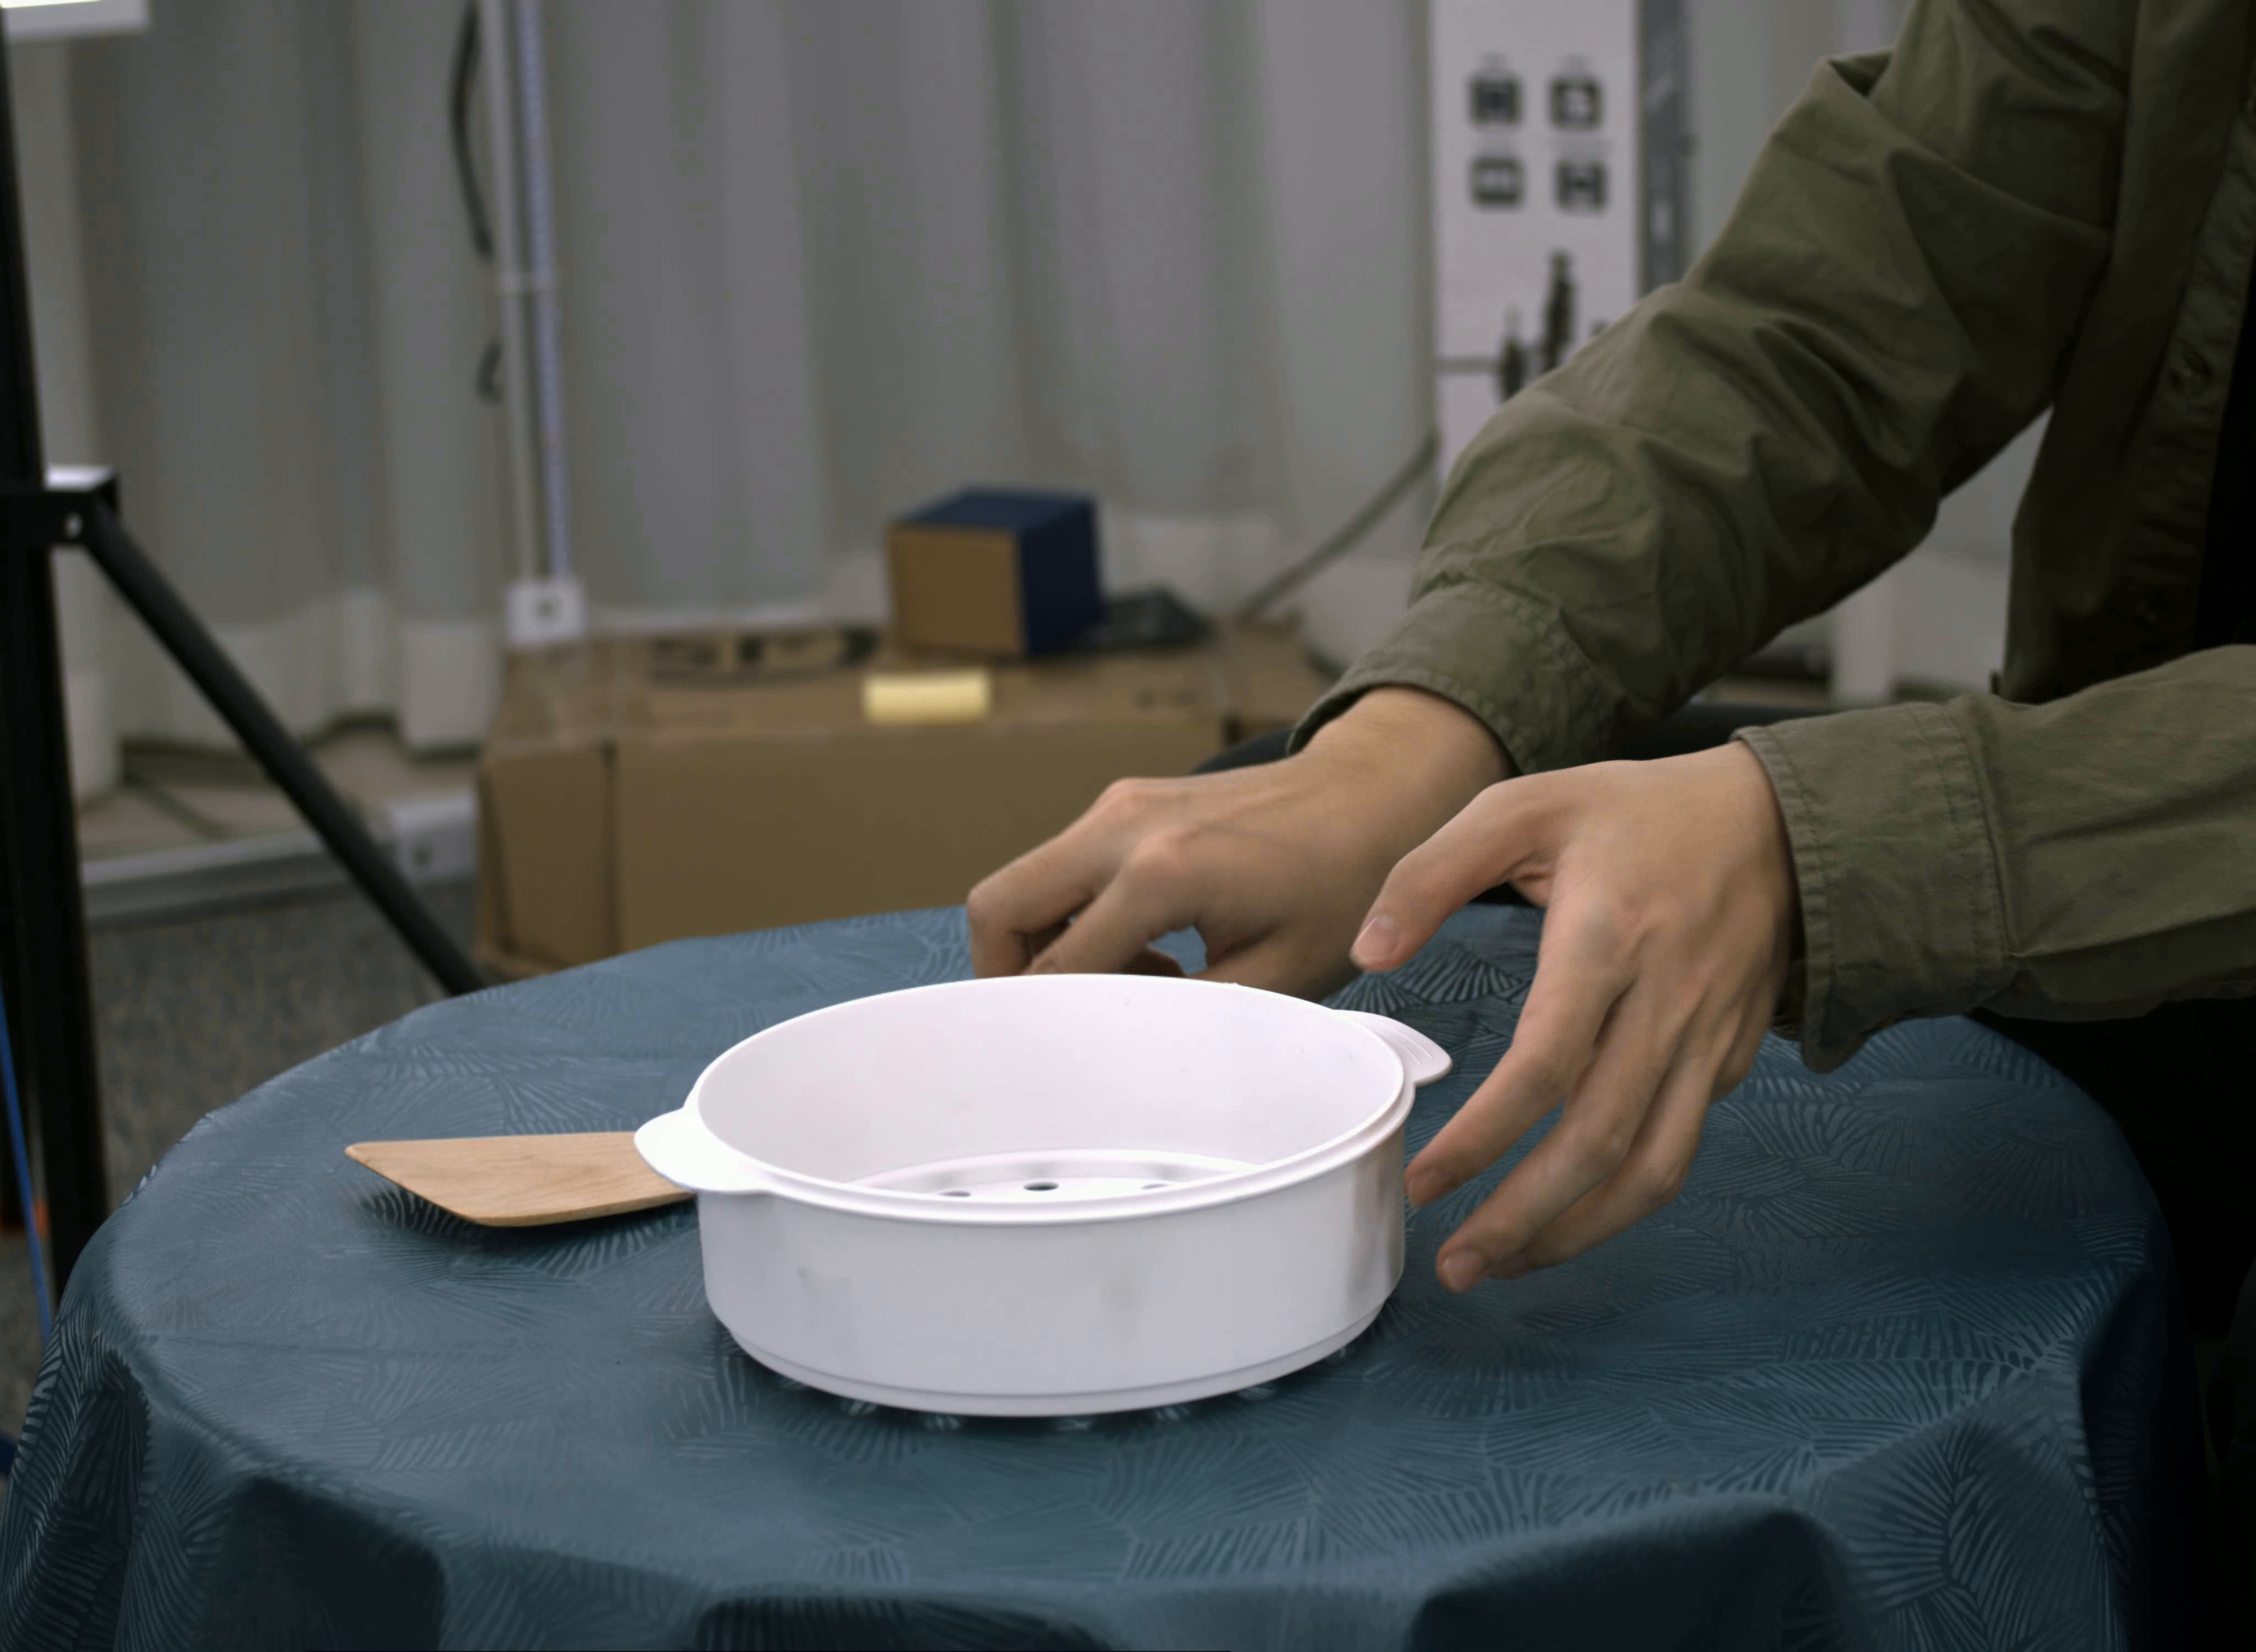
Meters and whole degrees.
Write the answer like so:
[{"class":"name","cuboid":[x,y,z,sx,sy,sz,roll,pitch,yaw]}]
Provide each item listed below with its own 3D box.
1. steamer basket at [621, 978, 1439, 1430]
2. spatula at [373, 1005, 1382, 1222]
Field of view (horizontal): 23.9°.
[{"class":"steamer basket","cuboid":[-0.025,0.104,1.465,0.226,0.069,0.205,-6,17,-19]},{"class":"spatula","cuboid":[-0.065,0.084,1.625,0.321,0.016,0.081,-10,18,-24]}]
